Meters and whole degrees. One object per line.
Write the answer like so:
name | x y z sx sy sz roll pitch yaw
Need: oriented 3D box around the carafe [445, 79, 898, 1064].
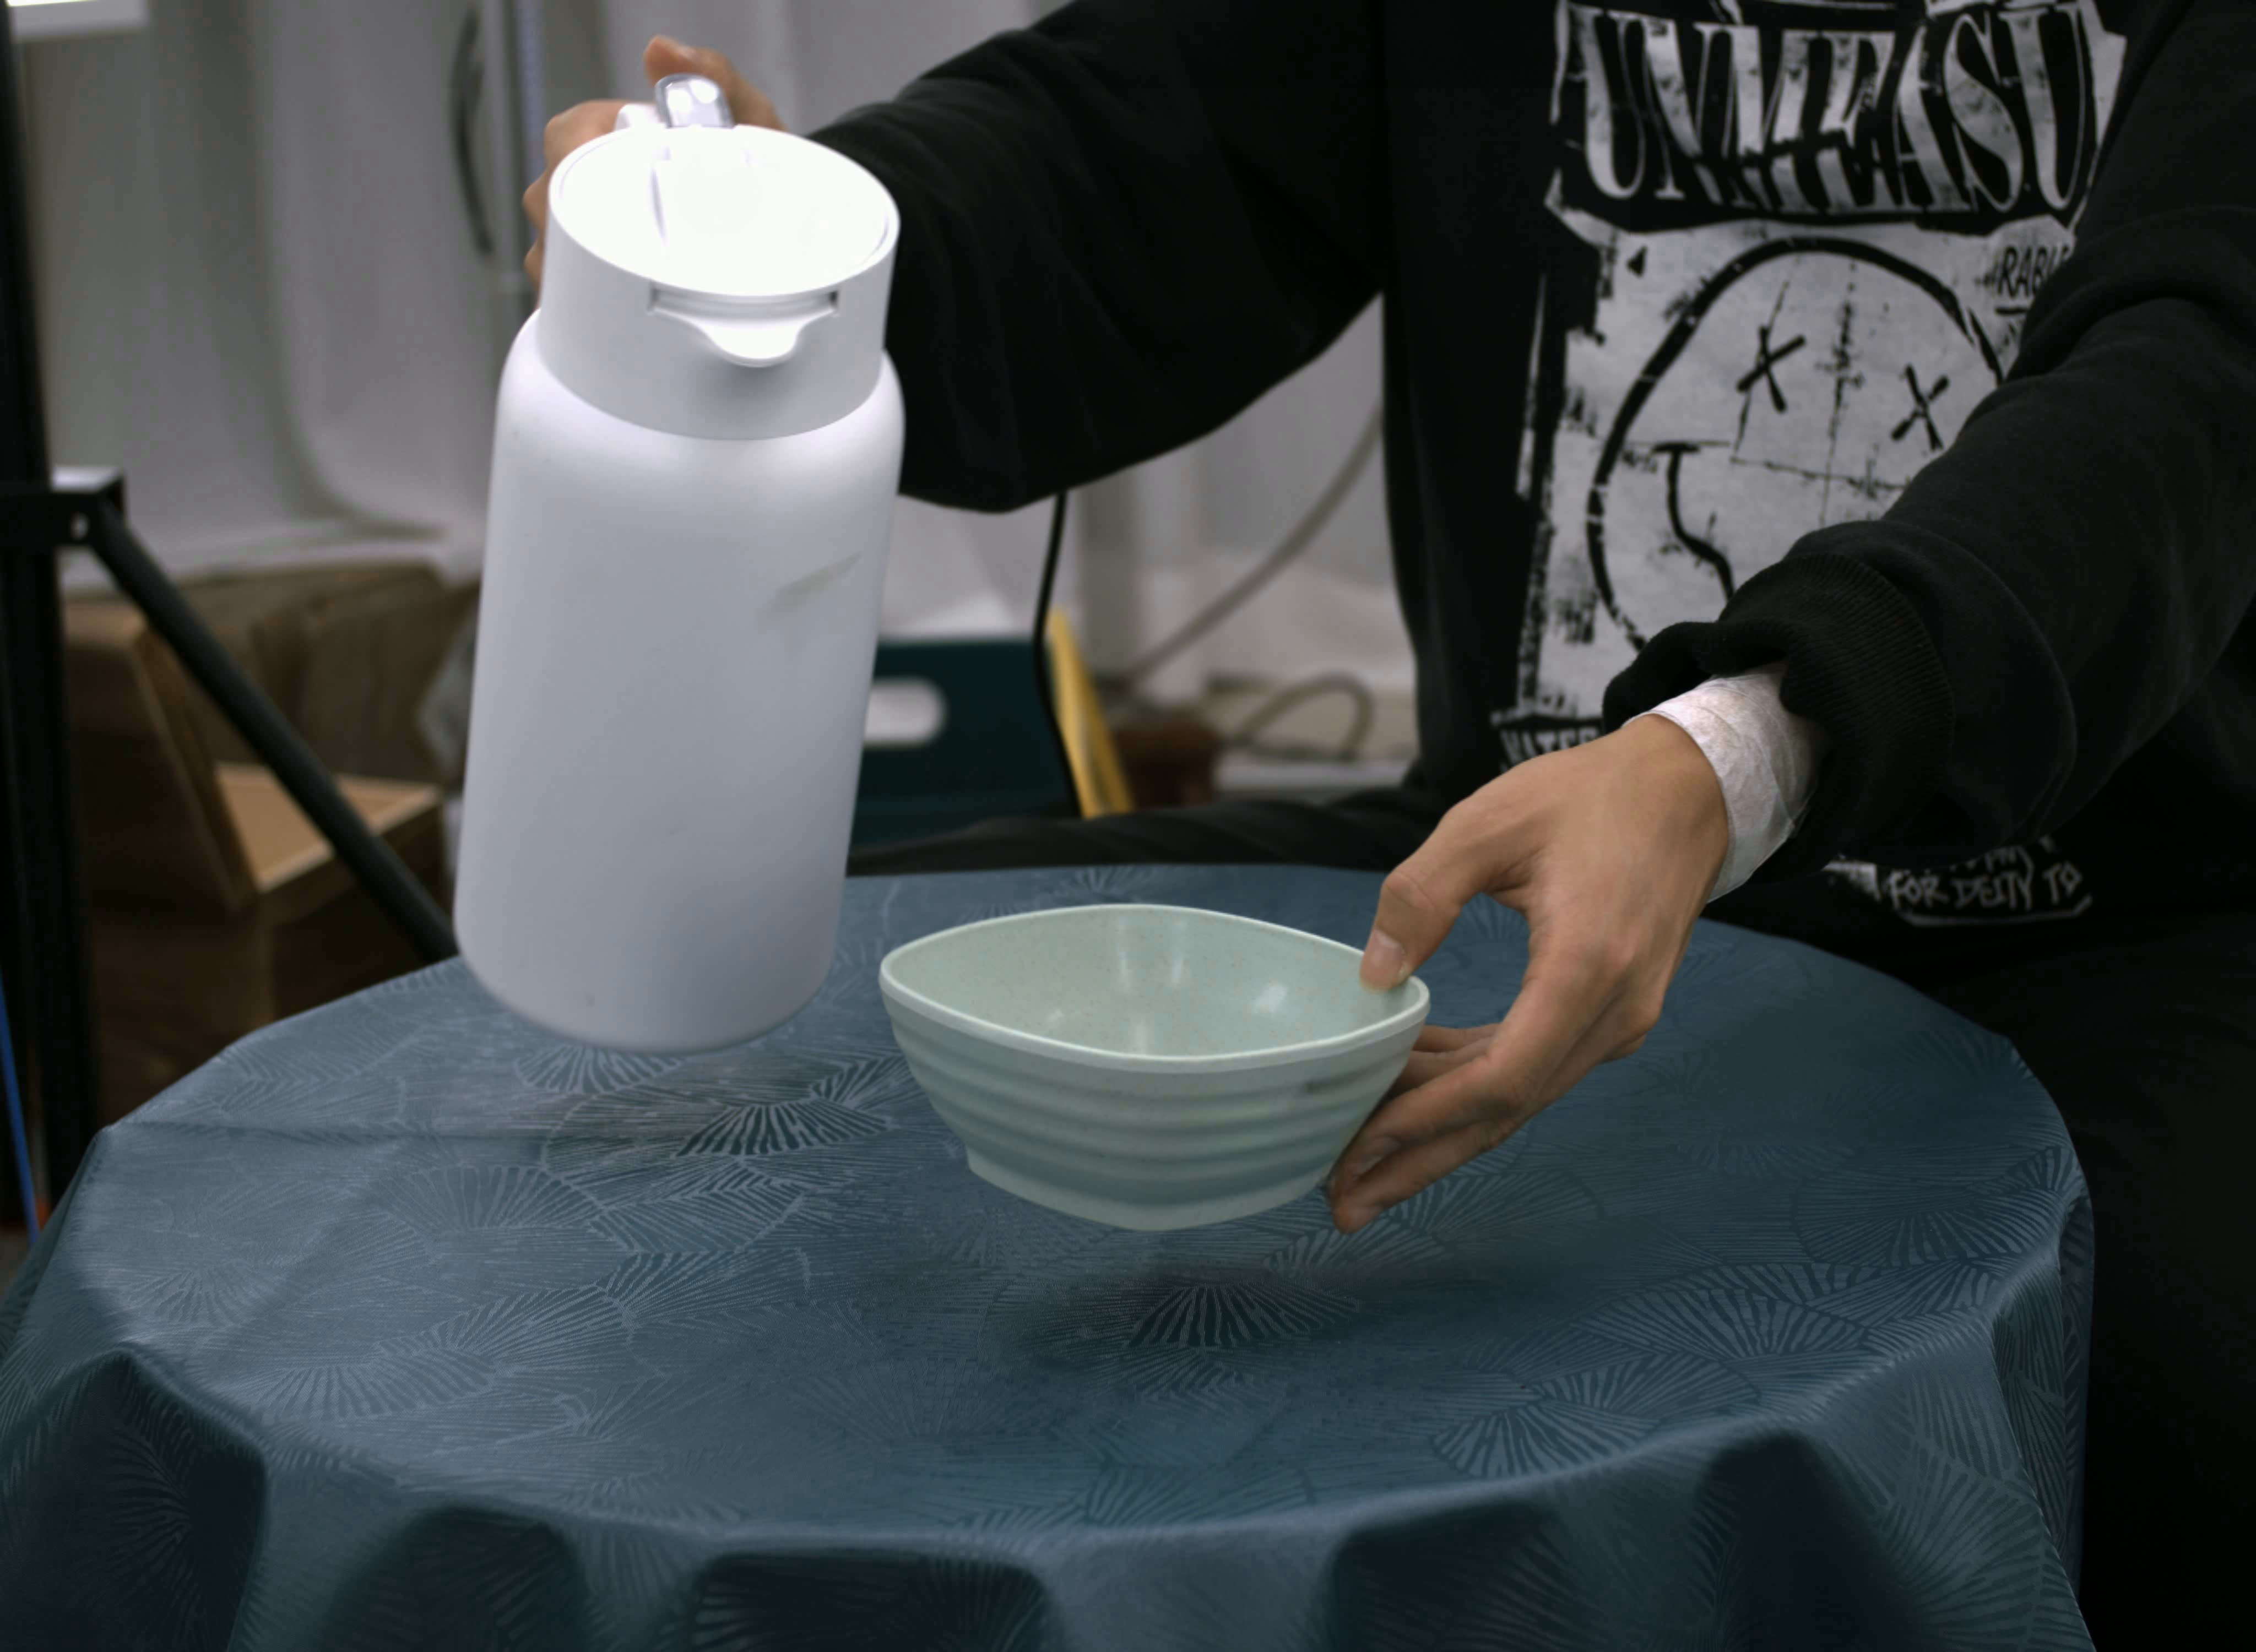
carafe | -0.138 -0.077 1.576 0.122 0.268 0.176 -2 35 -14

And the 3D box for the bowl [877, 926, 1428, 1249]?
bowl | 0.005 0.074 1.453 0.150 0.059 0.152 3 12 -2
